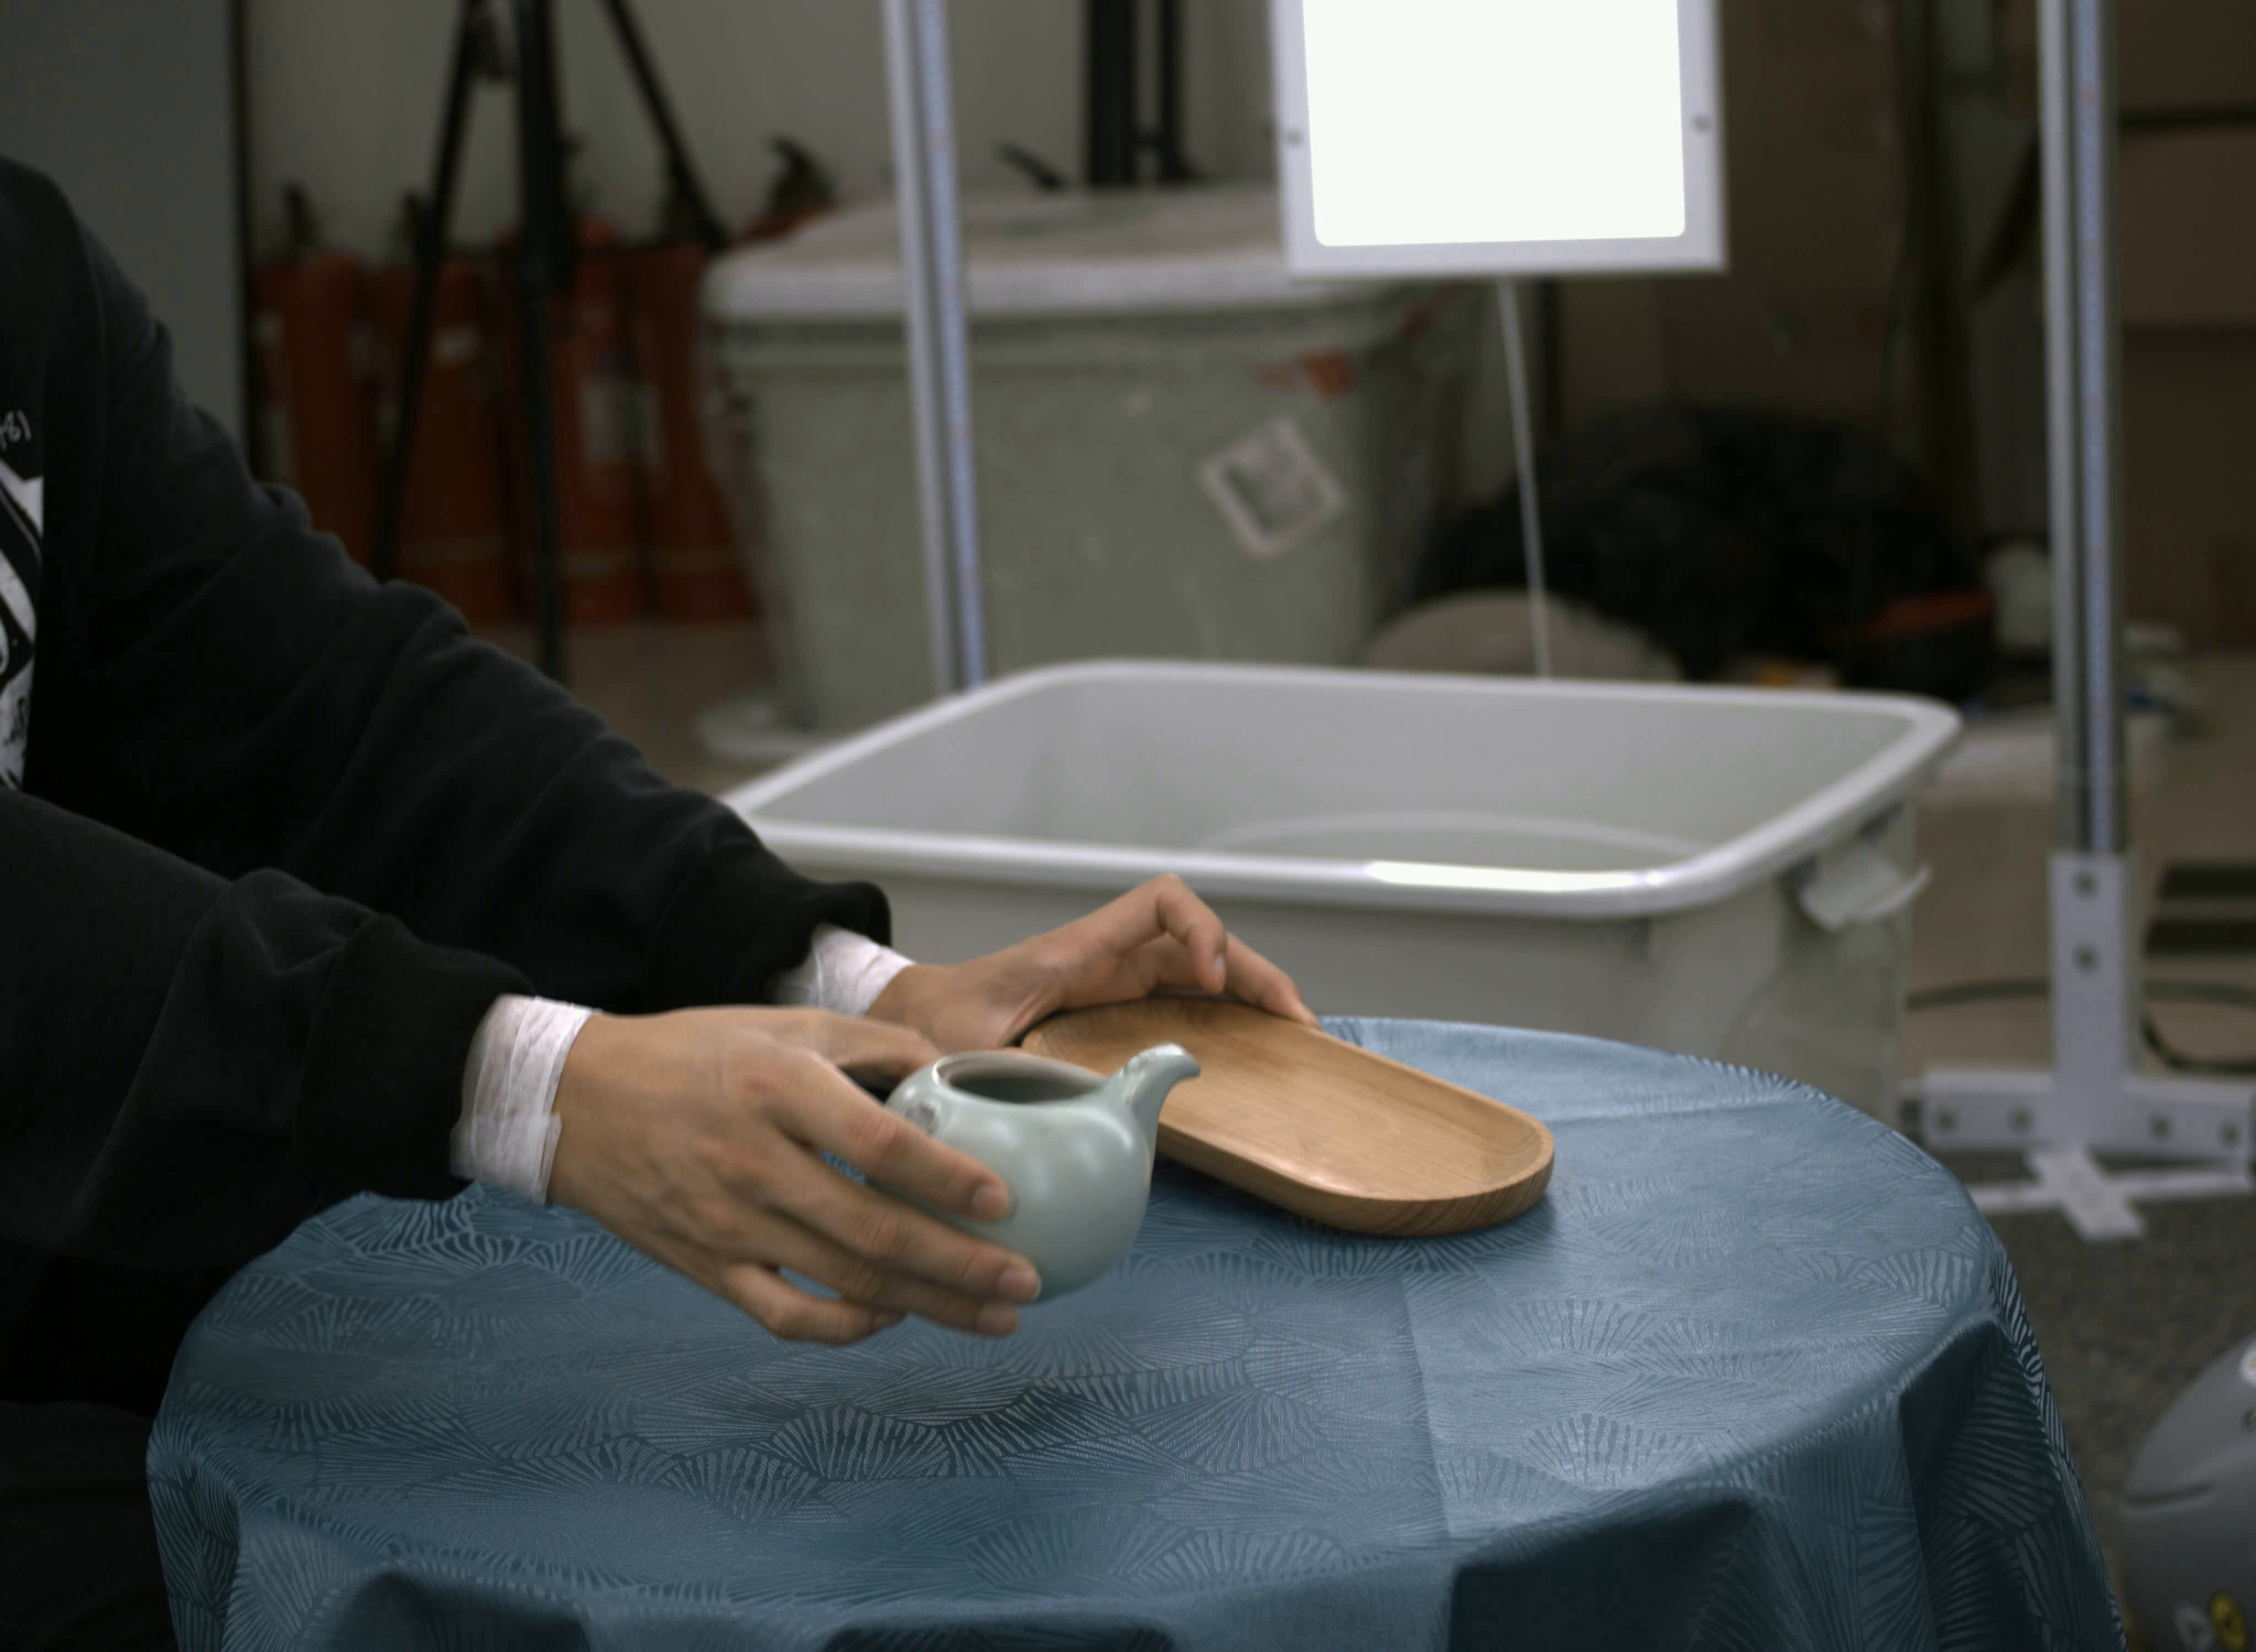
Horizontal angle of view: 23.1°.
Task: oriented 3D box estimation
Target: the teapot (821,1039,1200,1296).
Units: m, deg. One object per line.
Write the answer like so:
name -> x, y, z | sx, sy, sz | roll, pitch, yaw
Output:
teapot -> -0.037, 0.103, 1.690 | 0.140, 0.075, 0.090 | 0, 15, -38

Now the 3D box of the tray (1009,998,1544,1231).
tray -> 0.050, 0.099, 1.915 | 0.099, 0.020, 0.236 | -13, 20, -36
